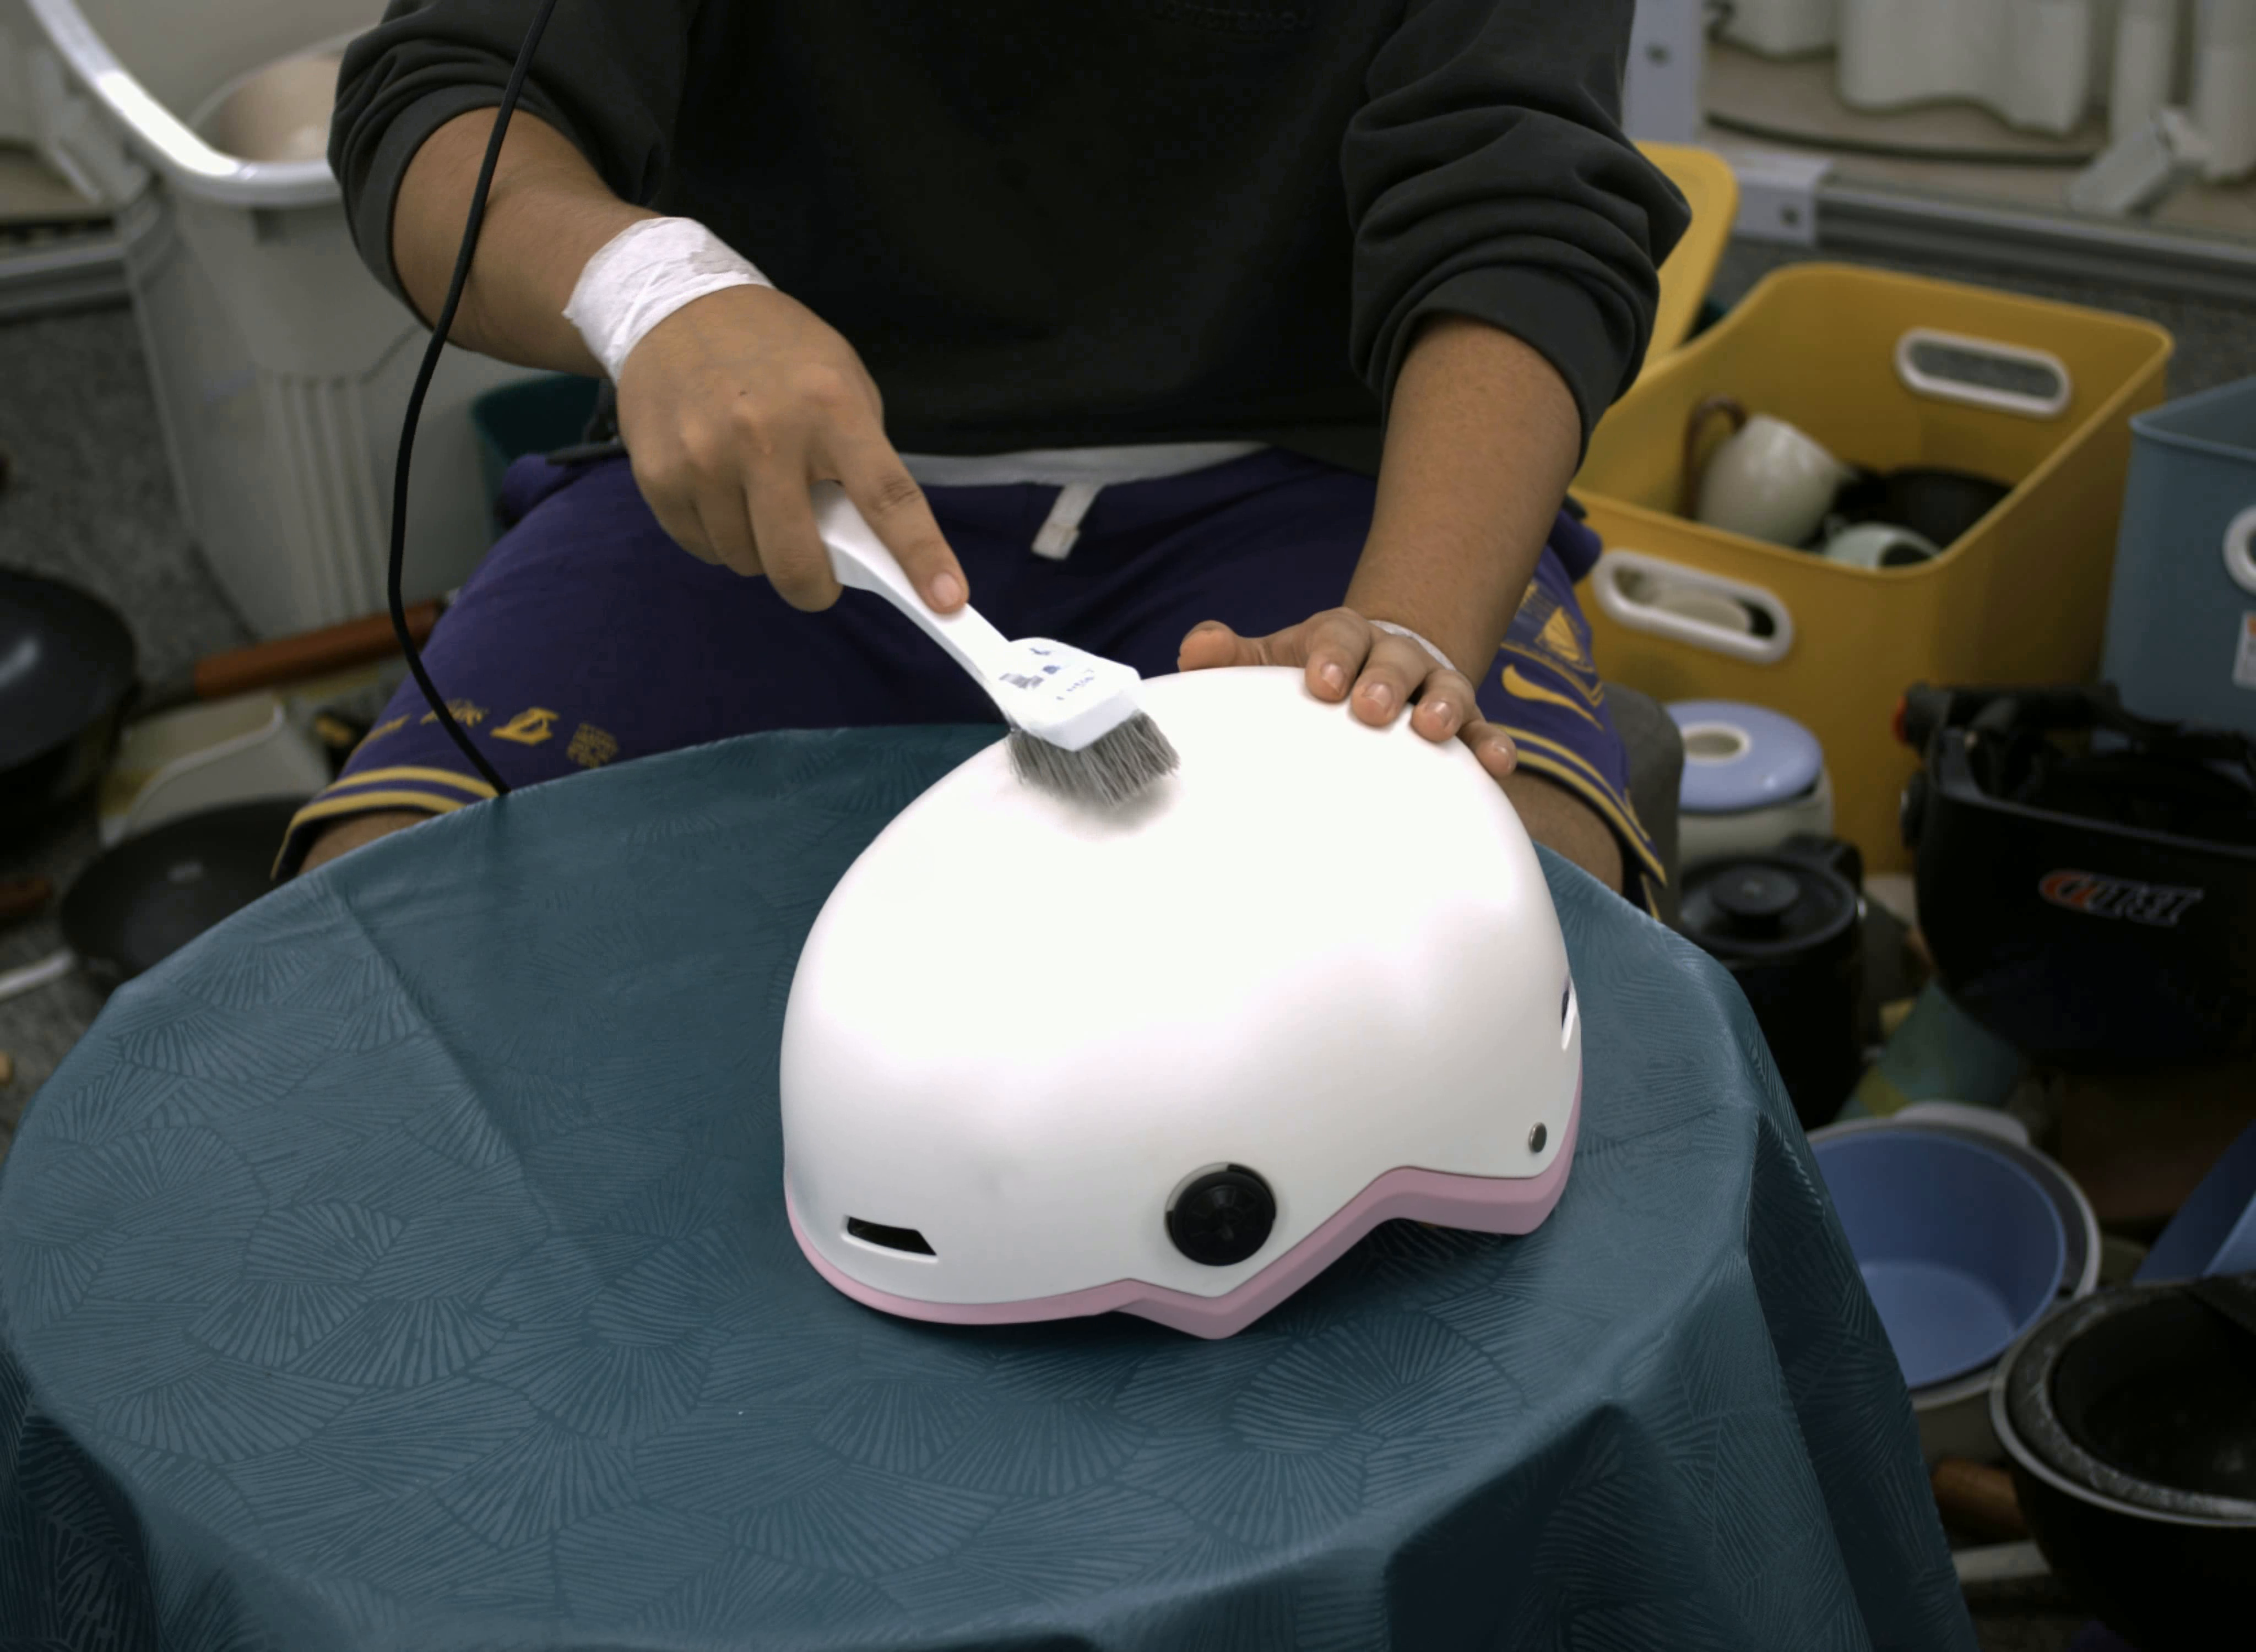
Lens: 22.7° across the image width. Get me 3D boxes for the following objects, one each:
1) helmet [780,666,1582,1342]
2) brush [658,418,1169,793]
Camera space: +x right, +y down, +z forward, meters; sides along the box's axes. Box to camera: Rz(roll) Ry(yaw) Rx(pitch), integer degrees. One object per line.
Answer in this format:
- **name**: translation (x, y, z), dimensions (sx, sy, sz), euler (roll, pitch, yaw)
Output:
- **helmet**: translation (0.014, 0.042, 1.839), dimensions (0.269, 0.165, 0.239), euler (-11, 28, -15)
- **brush**: translation (-0.073, -0.071, 1.842), dimensions (0.035, 0.049, 0.244), euler (-36, 44, -22)
